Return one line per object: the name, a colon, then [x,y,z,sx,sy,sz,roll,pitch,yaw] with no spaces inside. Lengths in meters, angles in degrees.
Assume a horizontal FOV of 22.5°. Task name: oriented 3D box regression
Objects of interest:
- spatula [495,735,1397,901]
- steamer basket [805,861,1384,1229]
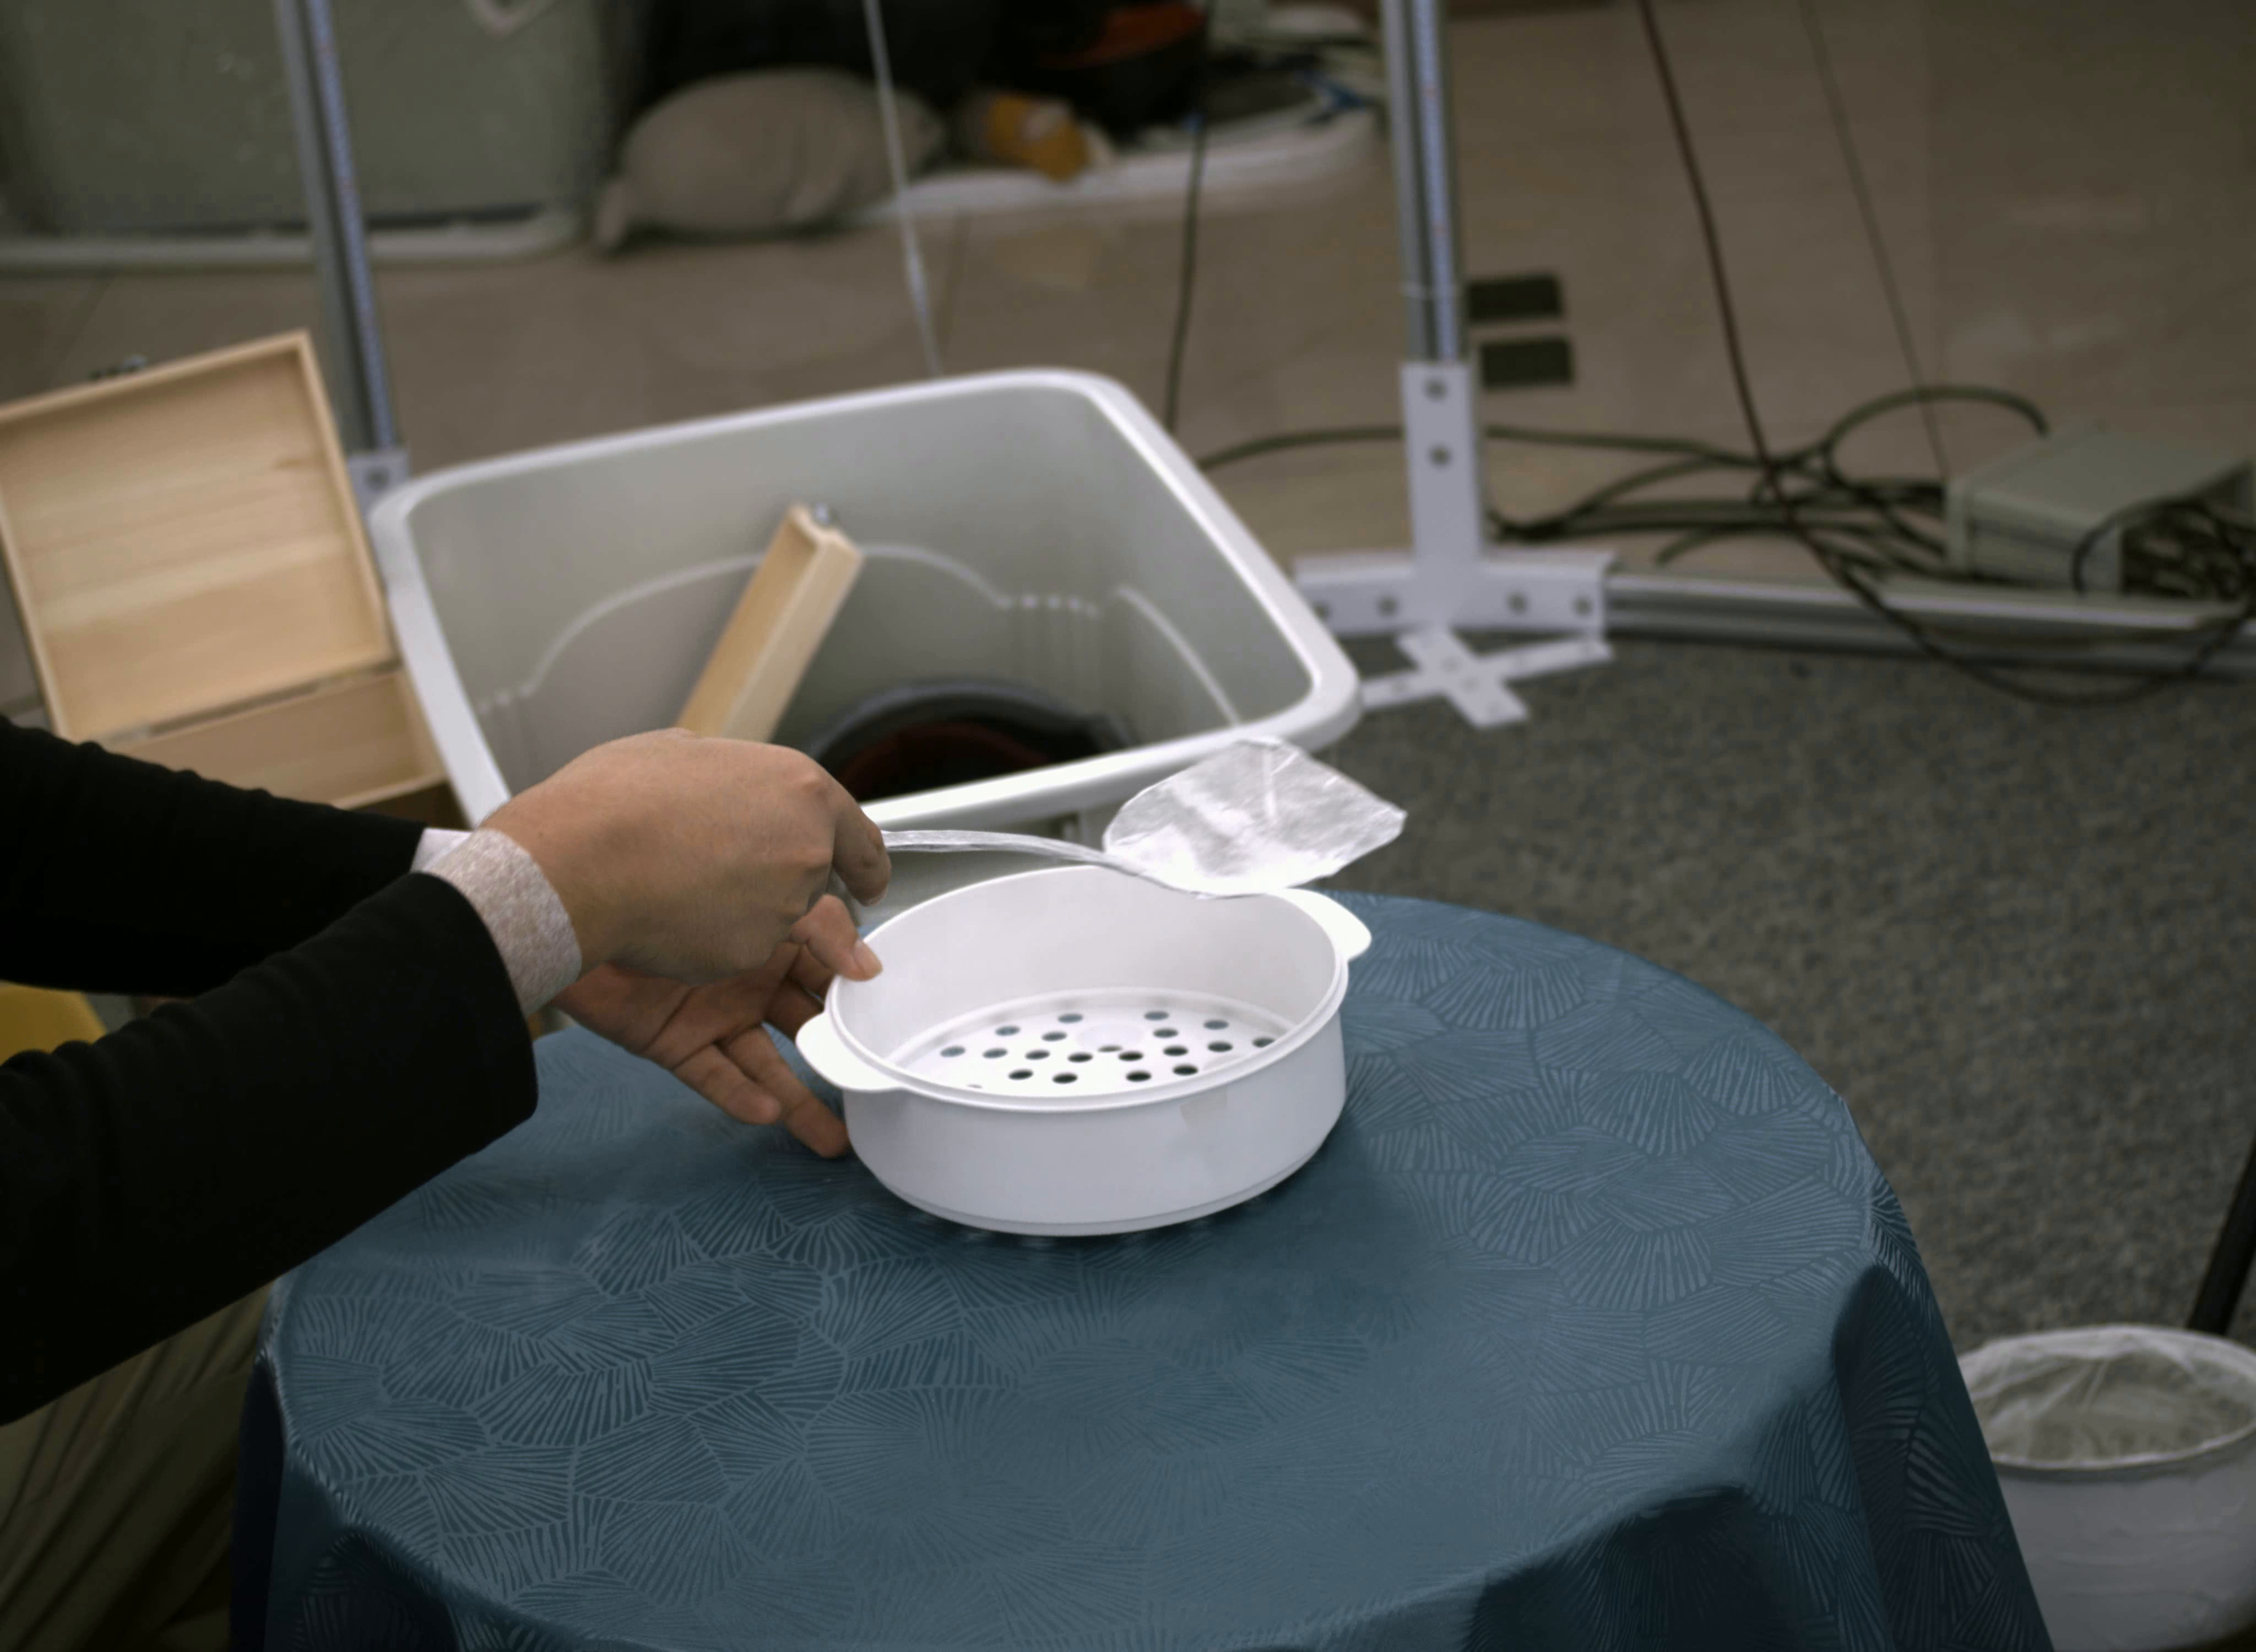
spatula: [-0.063,0.001,2.013,0.365,0.045,0.097,0,25,-40]
steamer basket: [-0.009,0.085,2.178,0.229,0.070,0.199,-15,27,-20]
